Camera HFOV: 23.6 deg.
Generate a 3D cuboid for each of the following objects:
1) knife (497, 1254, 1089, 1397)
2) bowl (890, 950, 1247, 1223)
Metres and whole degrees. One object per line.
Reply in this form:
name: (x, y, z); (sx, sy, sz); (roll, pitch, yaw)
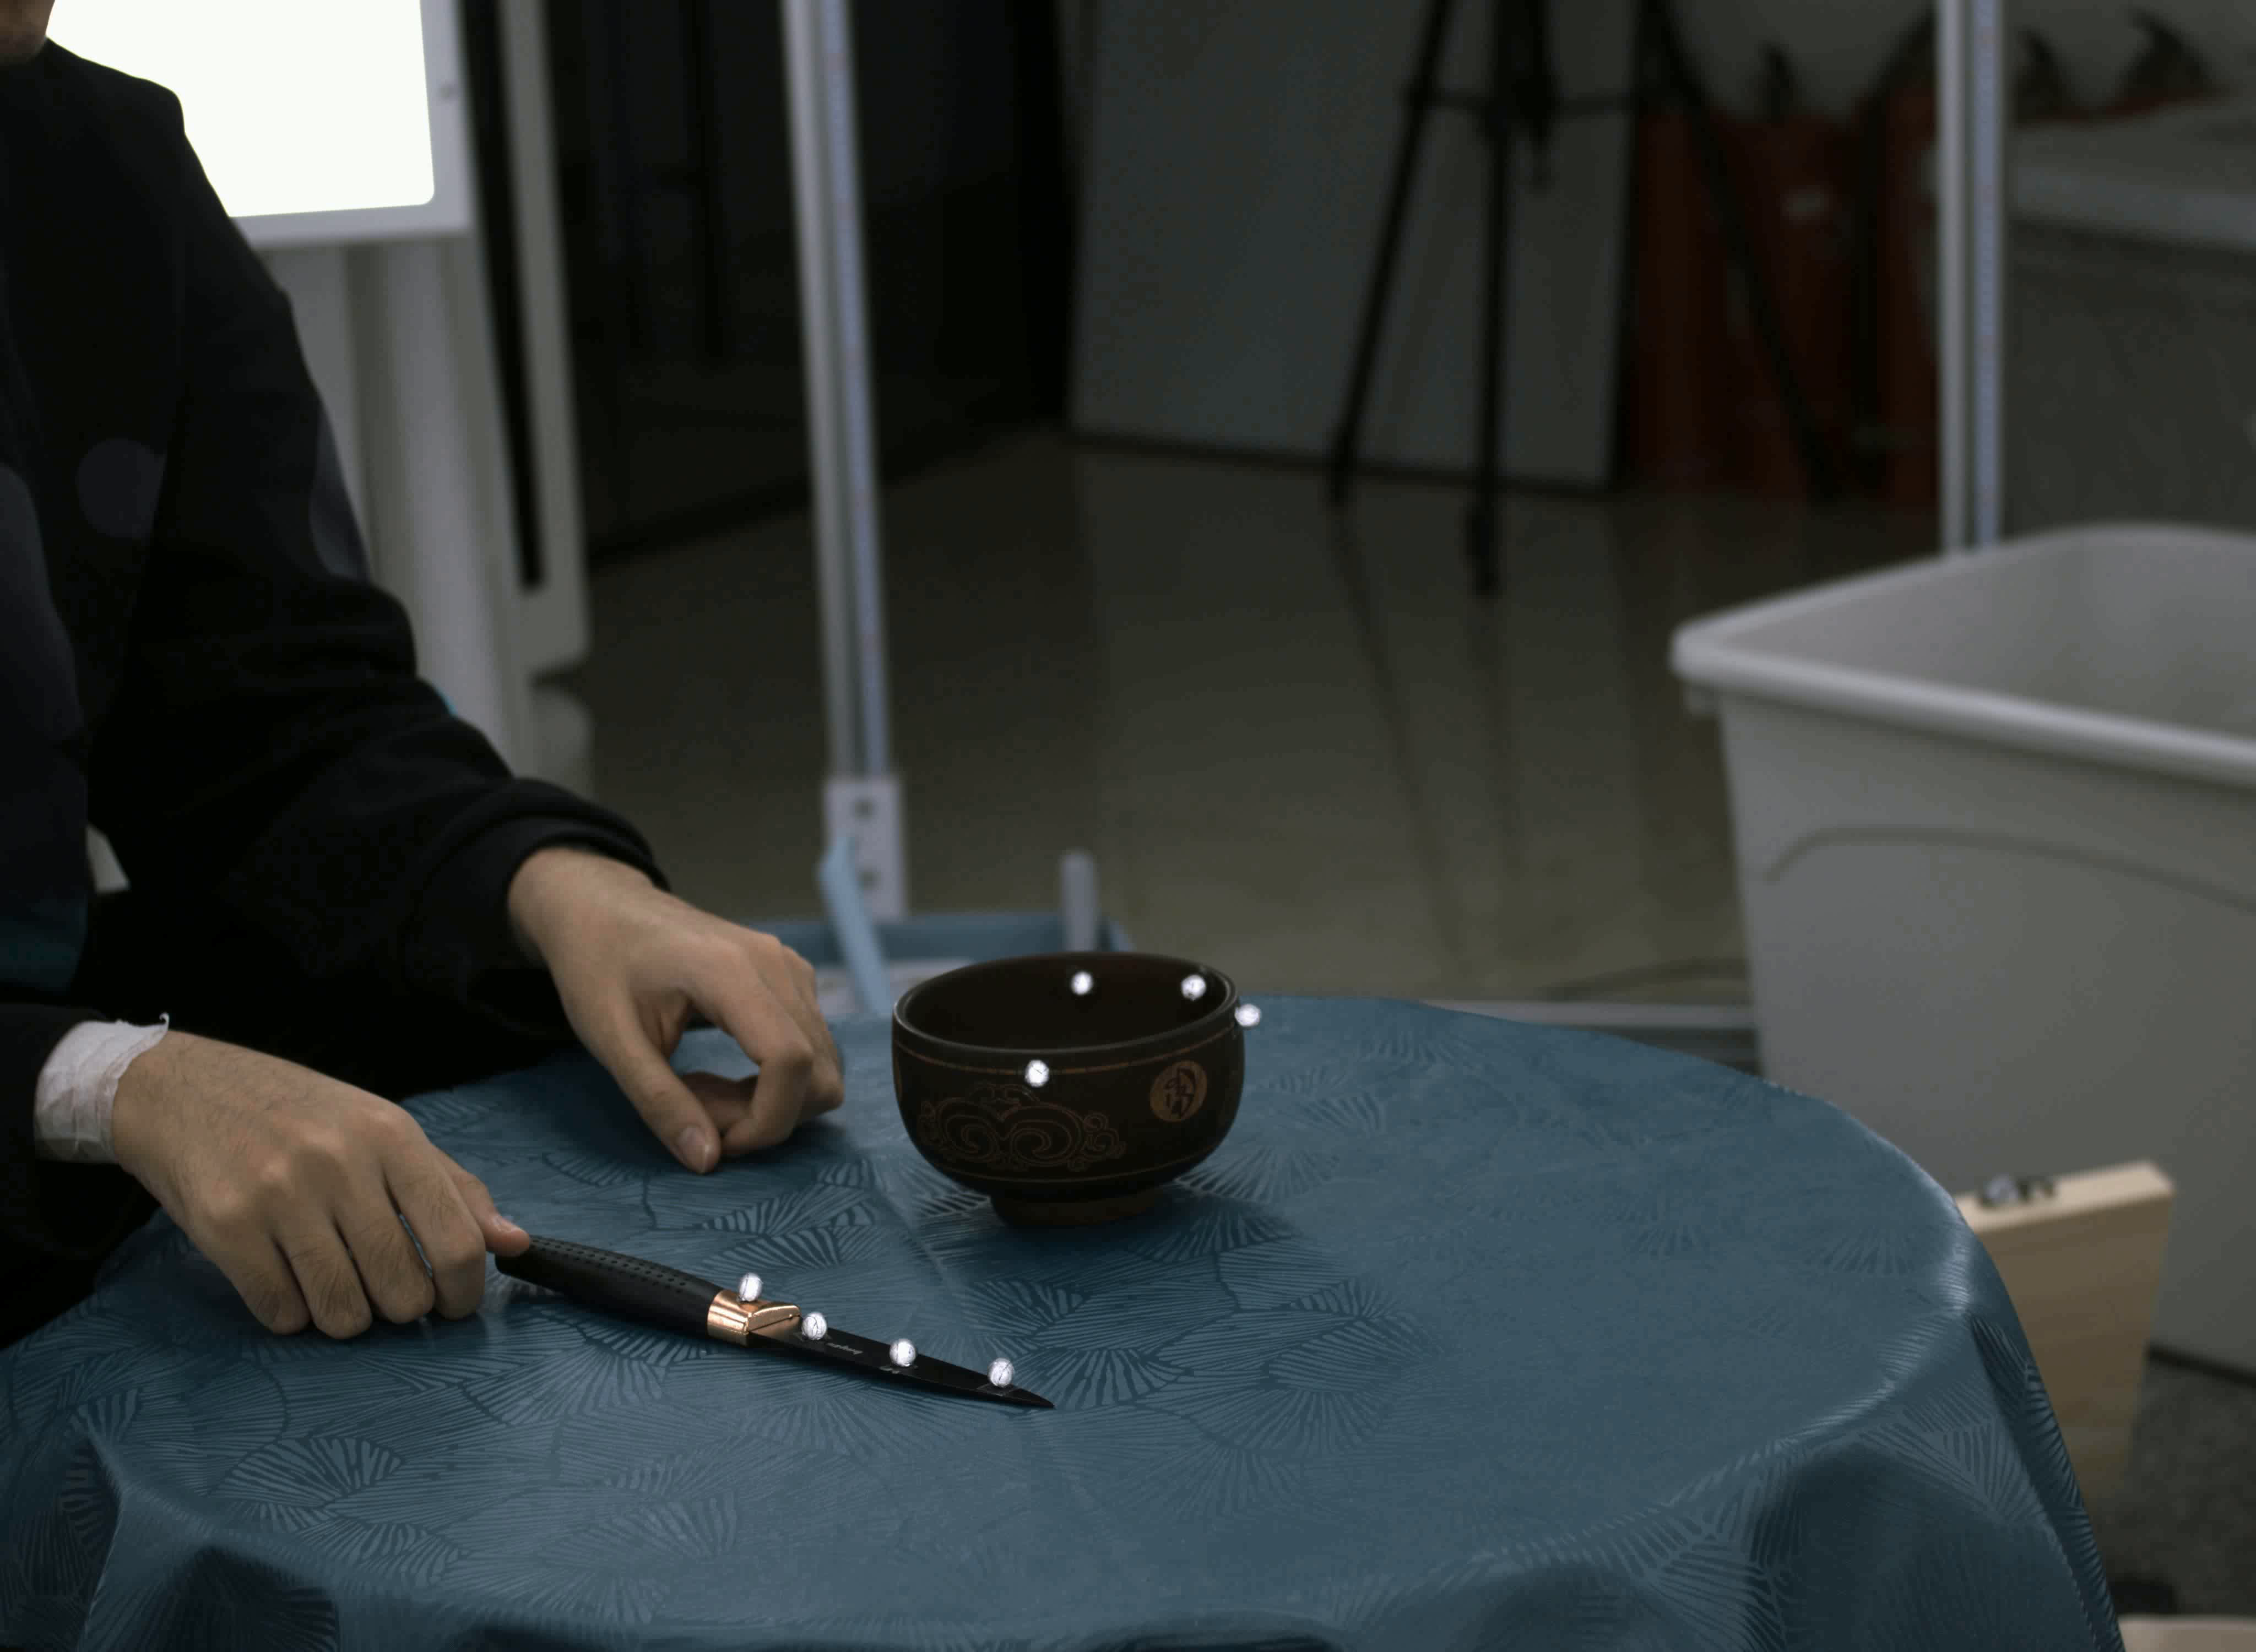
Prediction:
knife: (-0.105, 0.154, 1.646); (0.227, 0.017, 0.026); (8, 11, 37)
bowl: (-0.018, 0.088, 1.755); (0.116, 0.070, 0.118); (-5, 12, 0)
